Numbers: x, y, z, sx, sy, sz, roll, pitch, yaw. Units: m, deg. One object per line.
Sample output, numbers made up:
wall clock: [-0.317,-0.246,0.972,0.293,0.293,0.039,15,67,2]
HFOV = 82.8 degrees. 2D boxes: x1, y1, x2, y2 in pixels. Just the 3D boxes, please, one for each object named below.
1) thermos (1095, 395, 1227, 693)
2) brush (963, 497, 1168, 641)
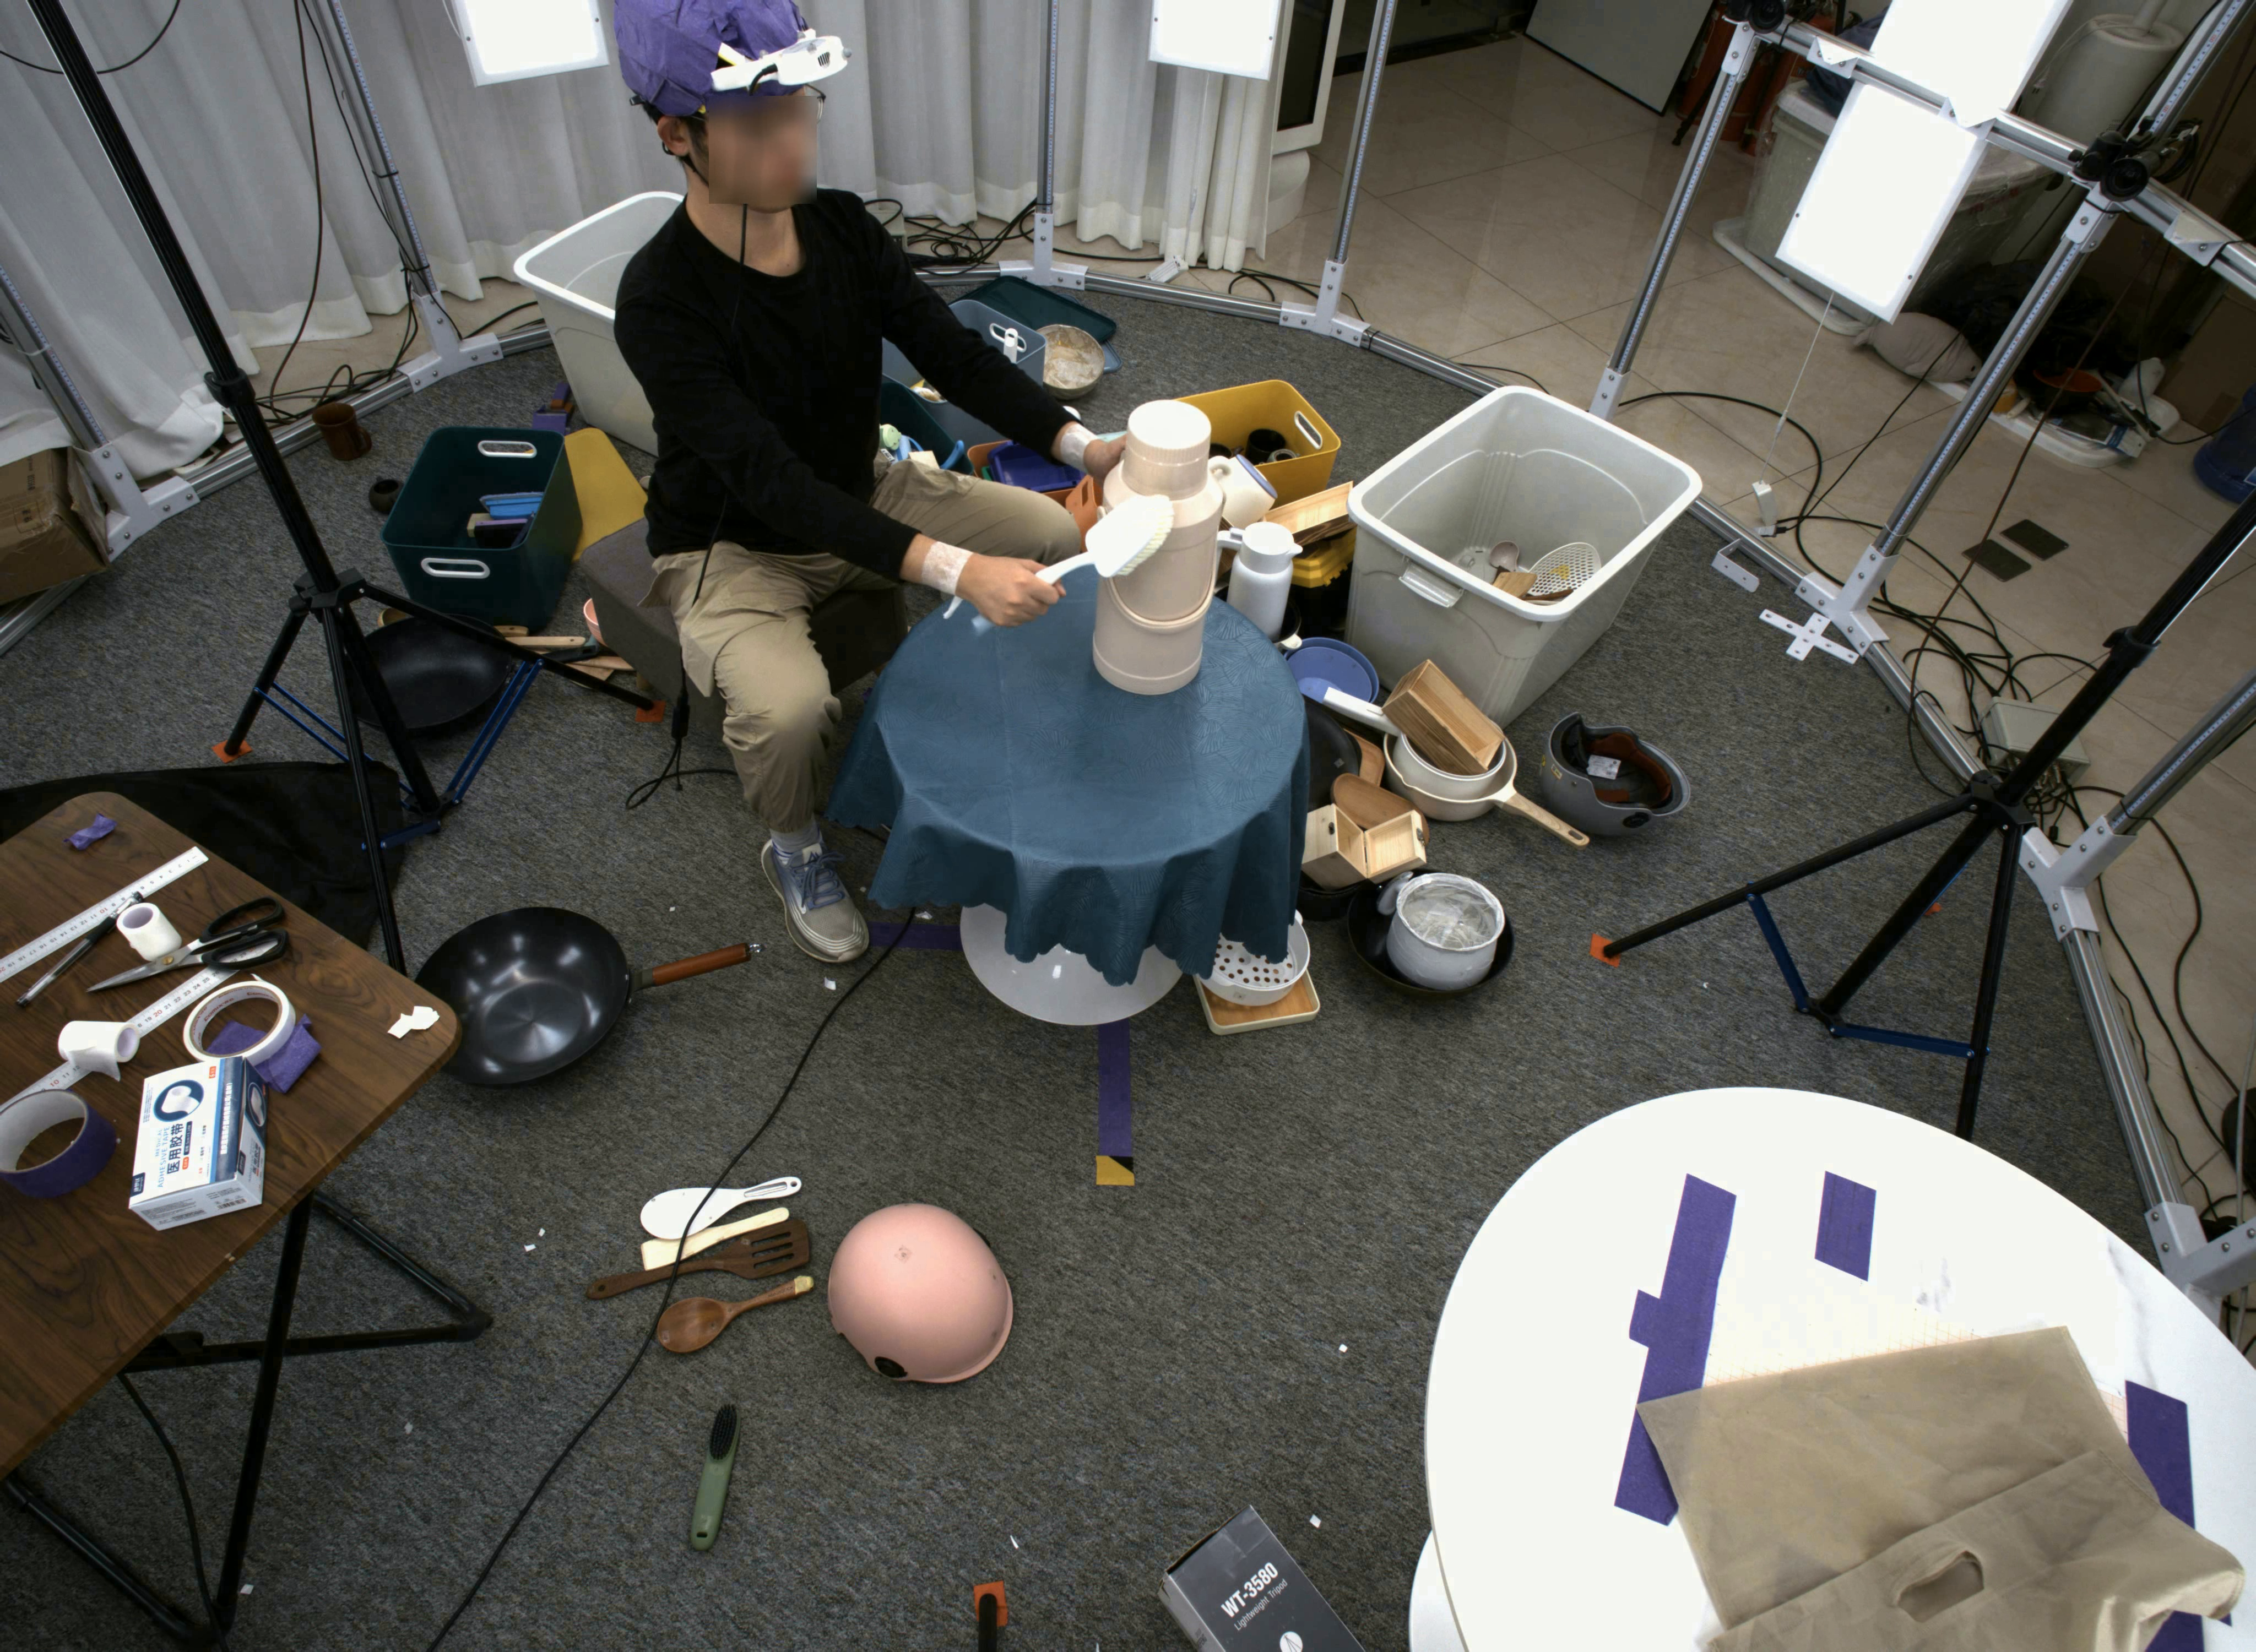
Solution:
thermos: [0.037,-0.385,1.751,0.175,0.396,0.212,-17,53,-16]
brush: [-0.078,-0.325,1.648,0.323,0.083,0.085,-29,42,29]
